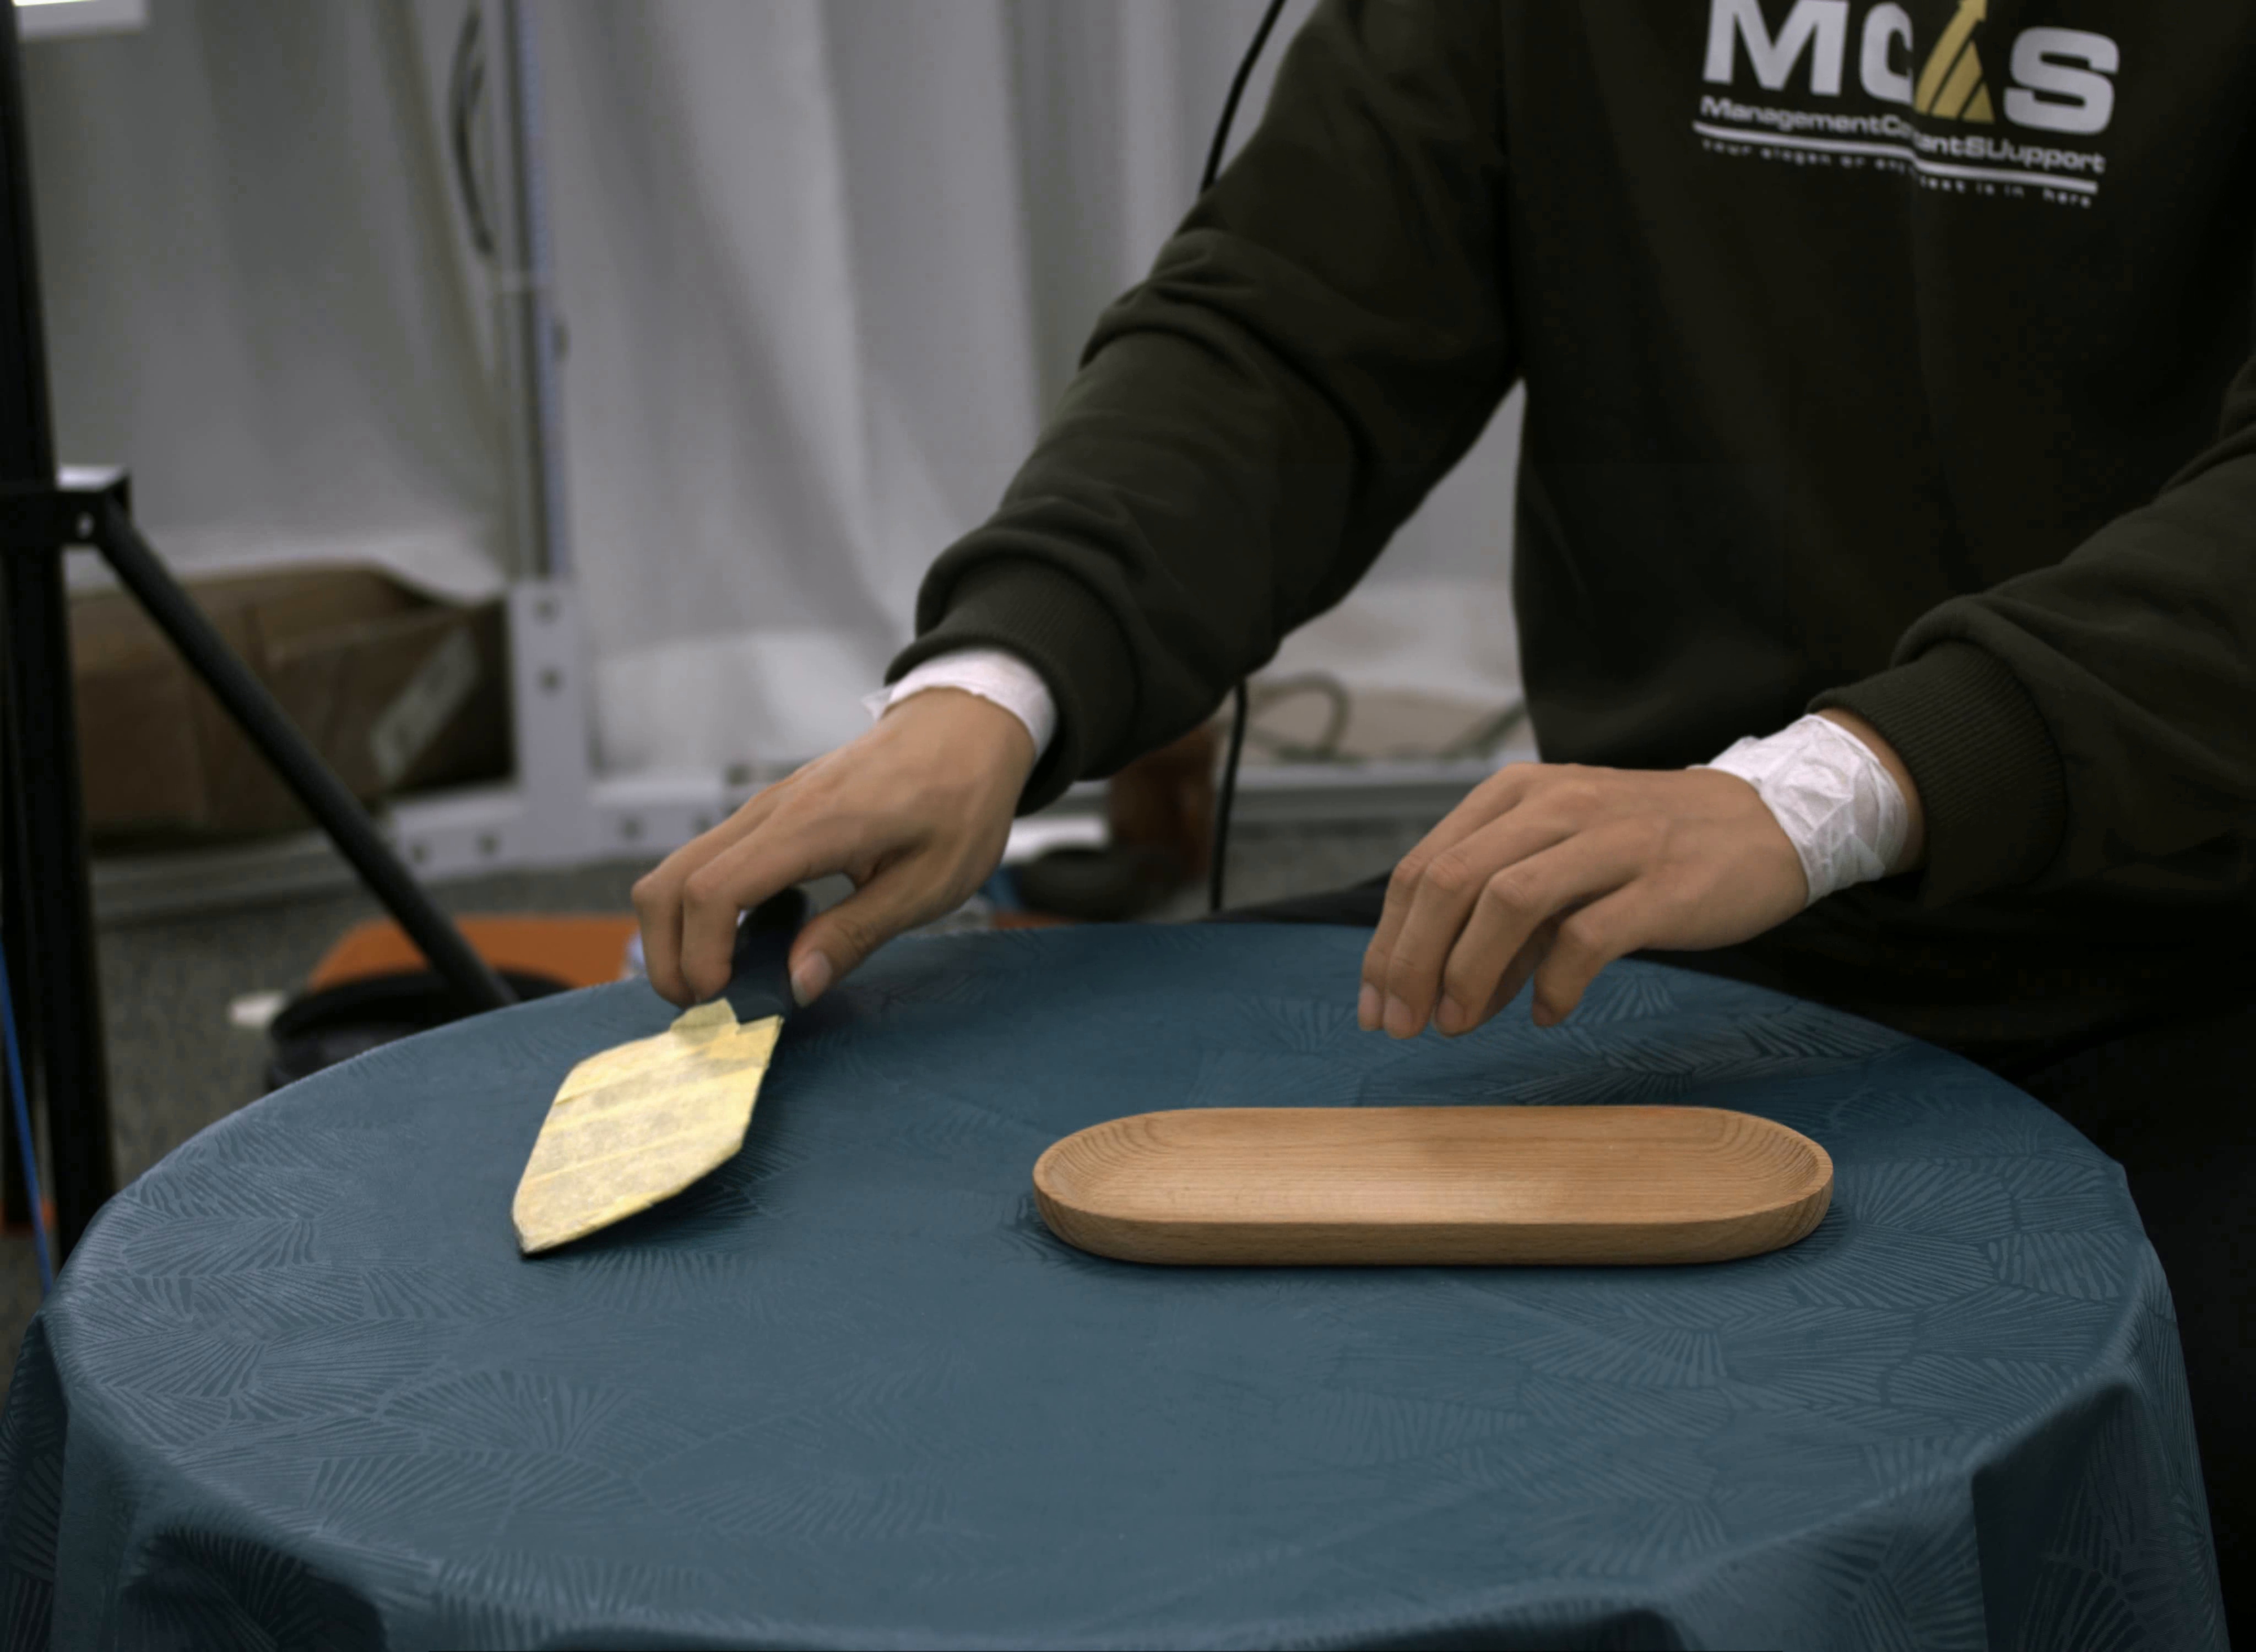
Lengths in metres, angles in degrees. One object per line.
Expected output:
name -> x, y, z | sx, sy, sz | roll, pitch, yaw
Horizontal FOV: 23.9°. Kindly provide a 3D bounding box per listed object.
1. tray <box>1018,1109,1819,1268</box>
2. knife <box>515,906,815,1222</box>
tray -> 0.084, 0.105, 1.529 | 0.231, 0.020, 0.101 | -2, 14, 7
knife -> -0.141, 0.075, 1.665 | 0.081, 0.027, 0.289 | -13, 13, 10
